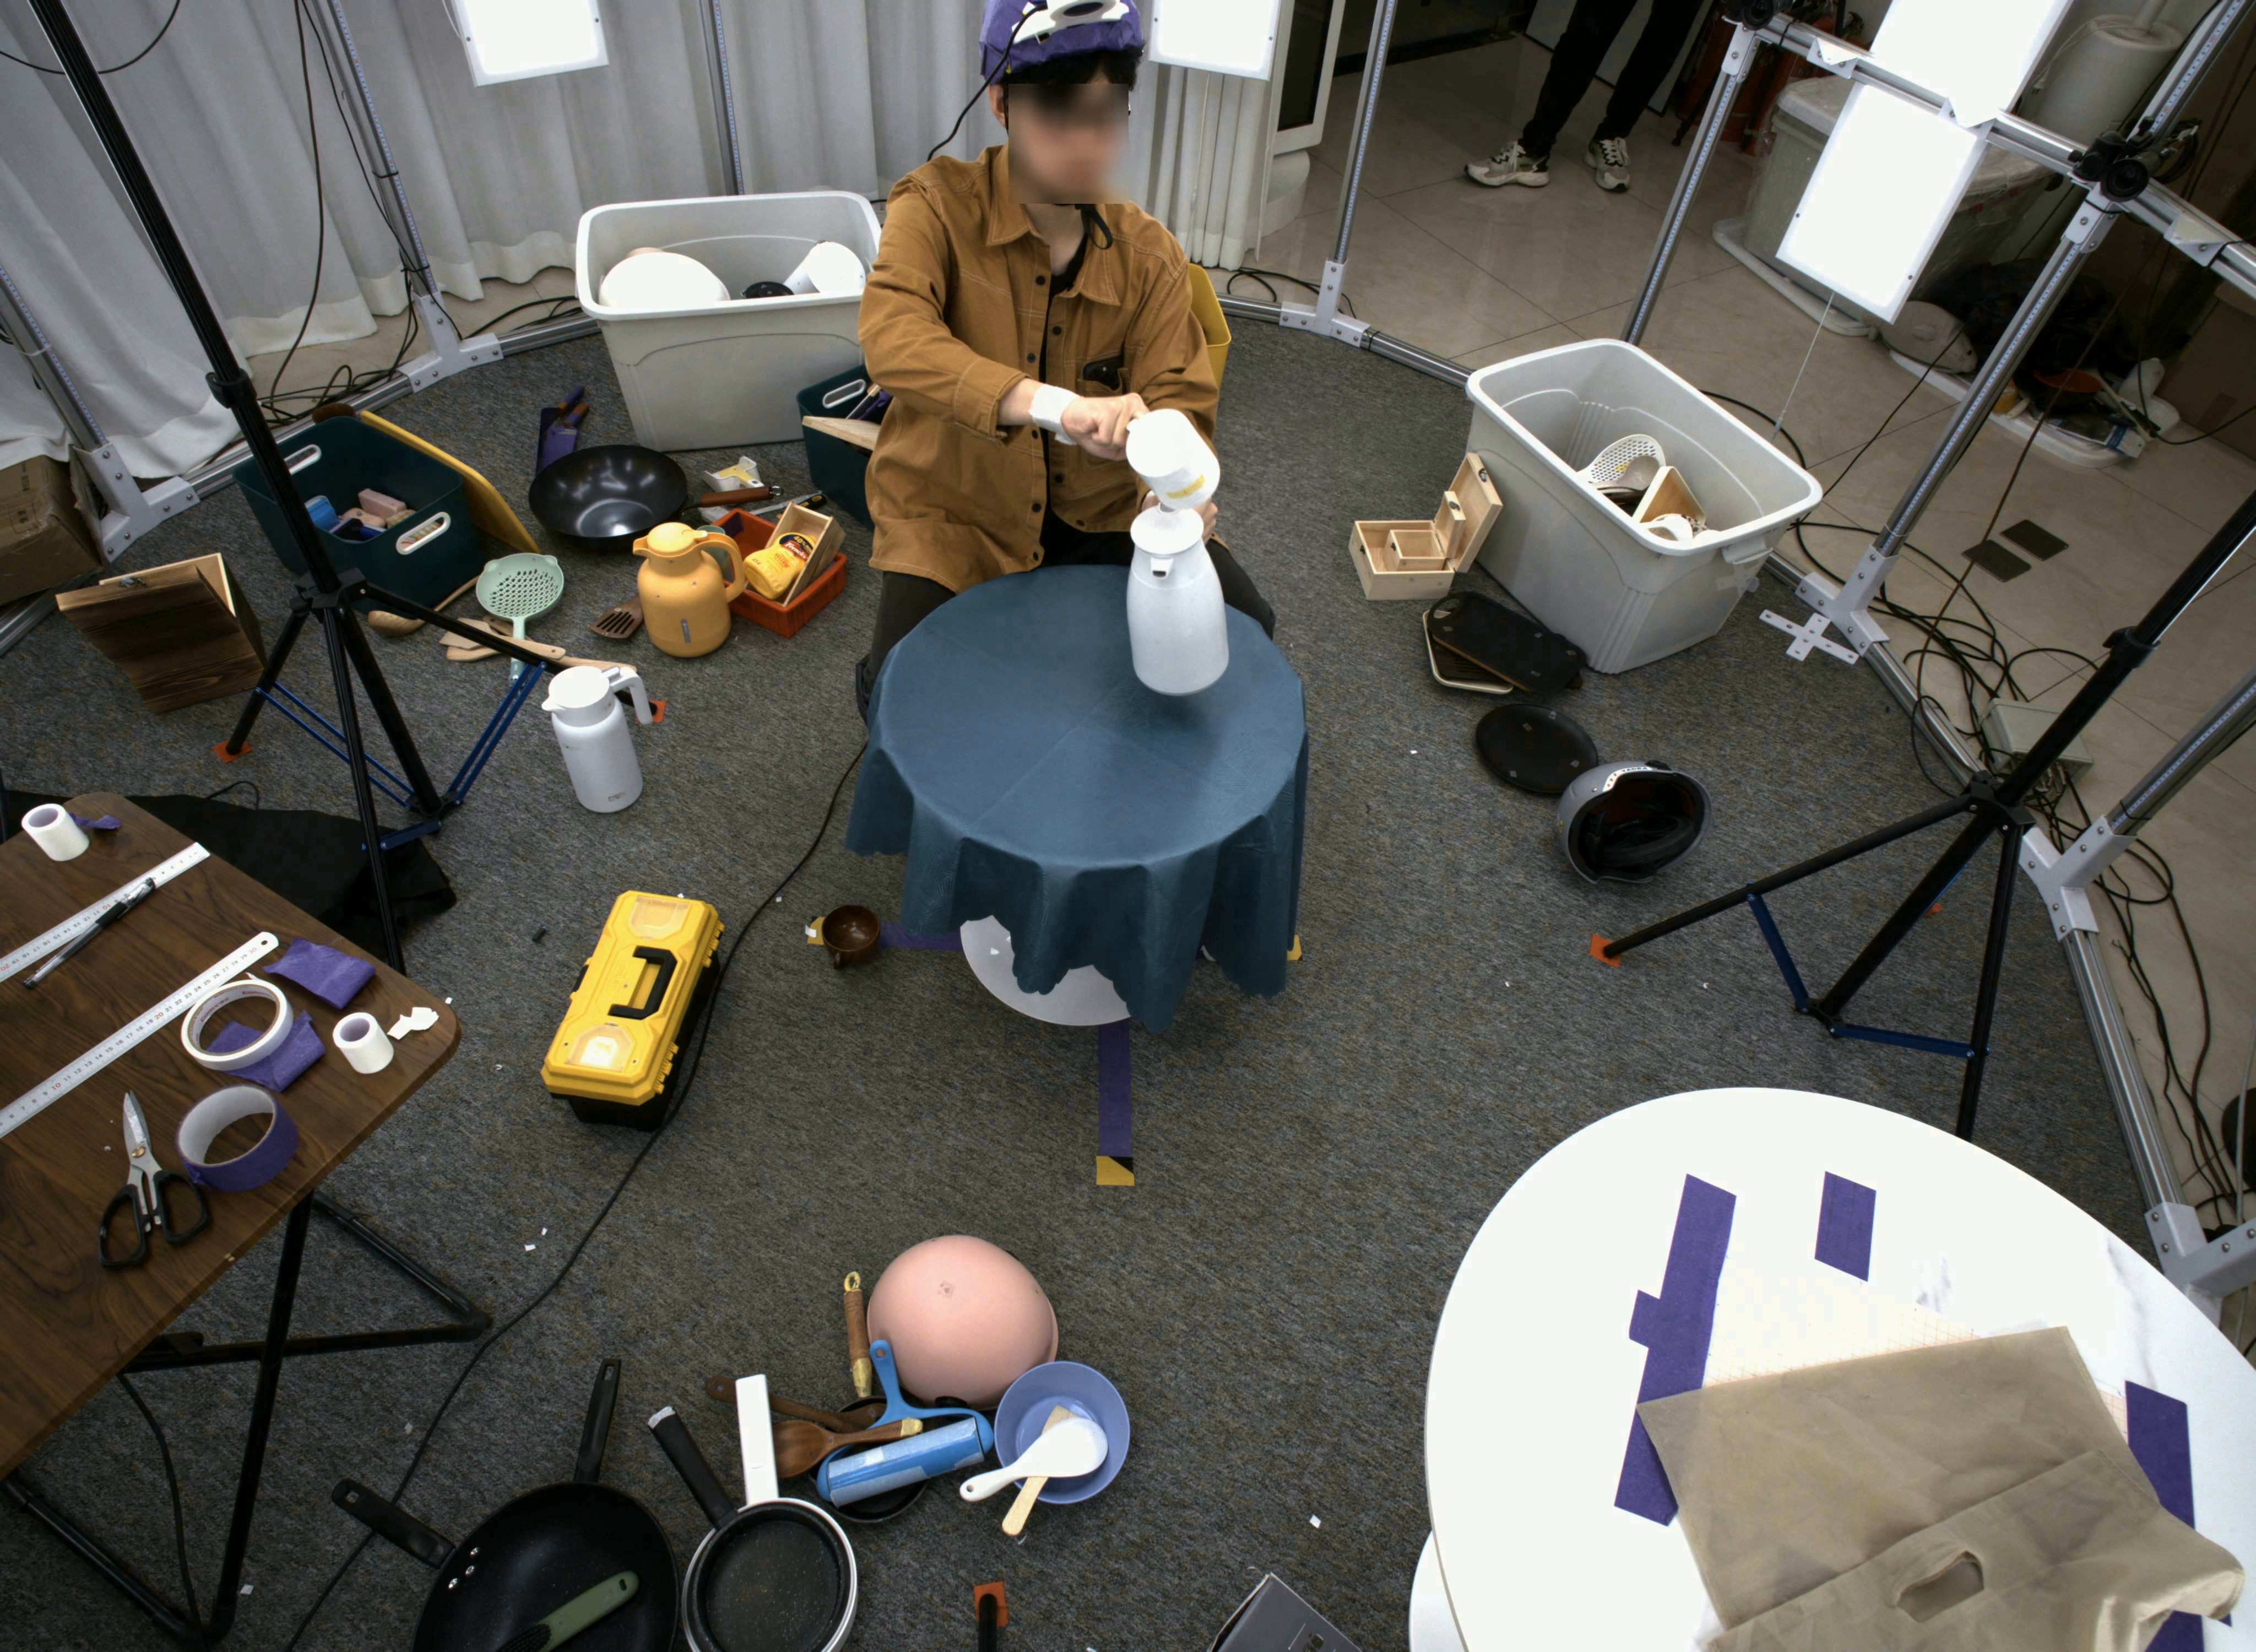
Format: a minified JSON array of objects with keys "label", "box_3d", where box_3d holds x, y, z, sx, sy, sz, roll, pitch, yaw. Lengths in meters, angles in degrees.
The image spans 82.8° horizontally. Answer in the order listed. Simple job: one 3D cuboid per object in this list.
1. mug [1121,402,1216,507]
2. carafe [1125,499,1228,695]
[{"label":"mug","box_3d":[0.037,-0.441,1.505,0.084,0.100,0.120,-47,66,7]},{"label":"carafe","box_3d":[0.061,-0.316,1.687,0.133,0.242,0.171,3,53,12]}]
